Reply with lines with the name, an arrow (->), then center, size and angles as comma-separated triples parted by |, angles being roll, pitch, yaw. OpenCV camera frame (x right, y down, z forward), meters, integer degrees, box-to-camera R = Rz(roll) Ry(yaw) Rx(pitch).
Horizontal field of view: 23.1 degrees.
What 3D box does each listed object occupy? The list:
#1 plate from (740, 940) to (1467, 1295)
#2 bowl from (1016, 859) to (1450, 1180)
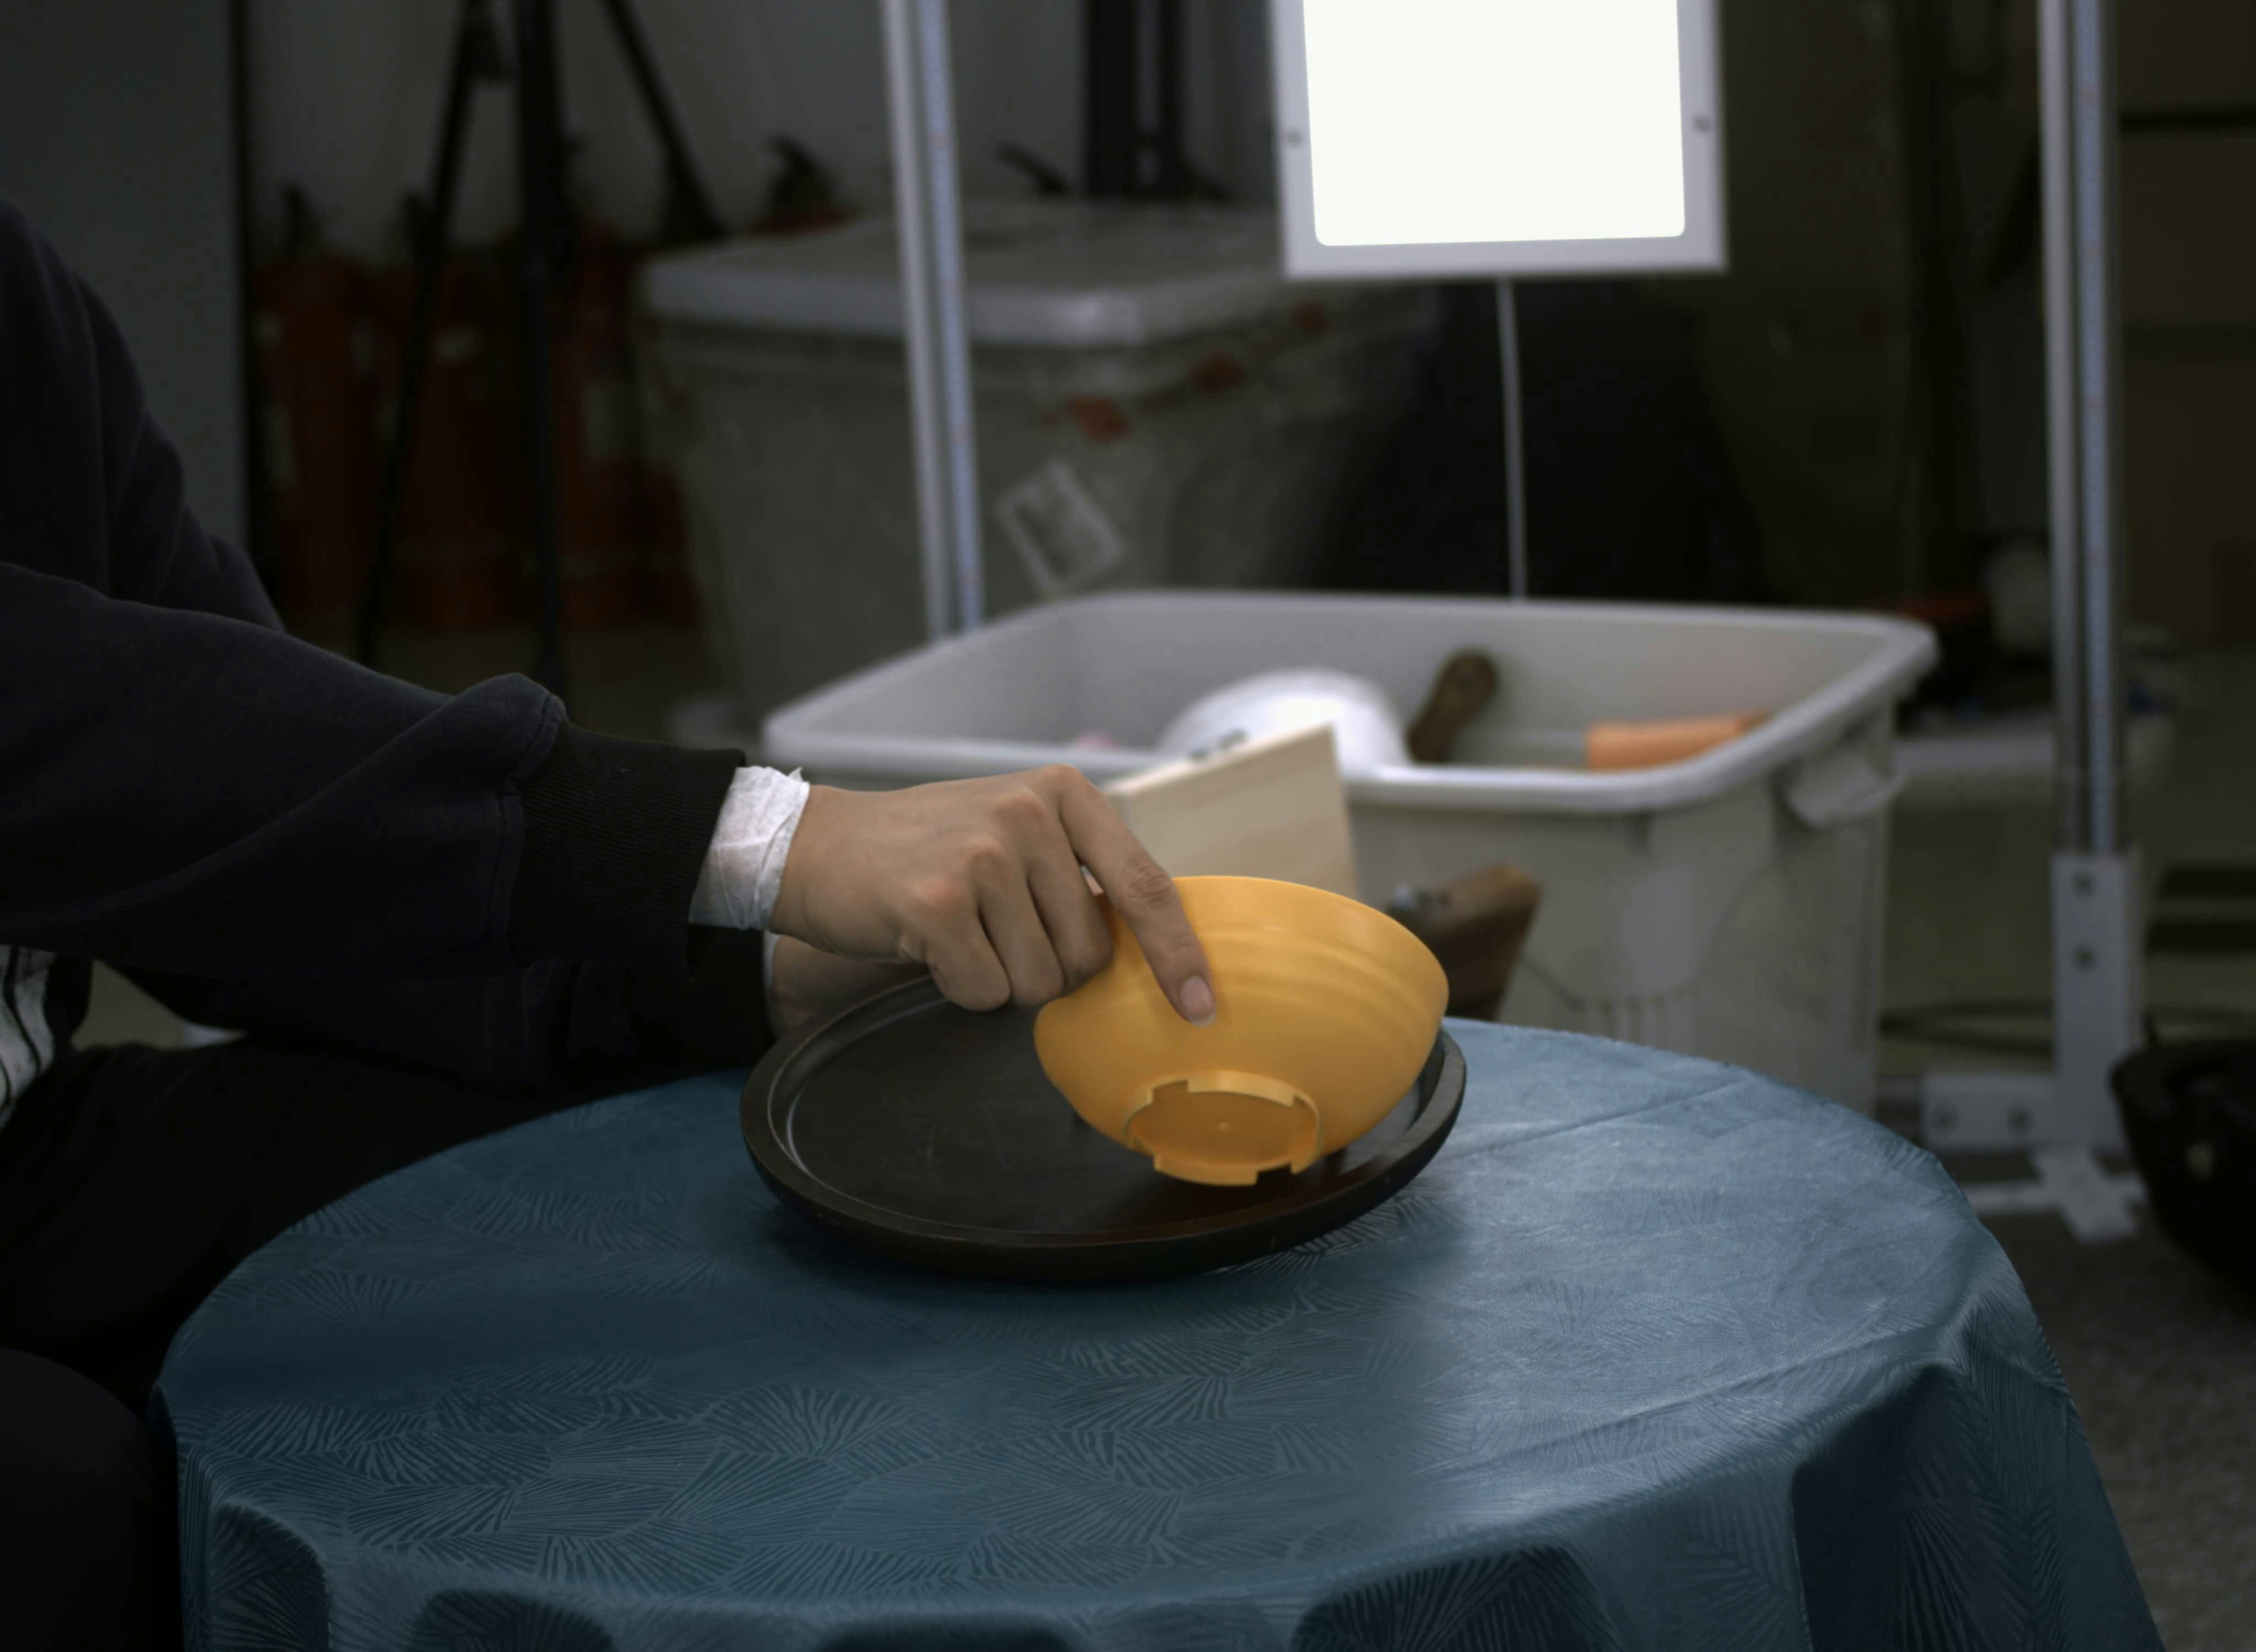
plate -> -0.008, 0.097, 1.905 | 0.254, 0.029, 0.254 | -6, 24, 1
bowl -> 0.032, 0.075, 1.806 | 0.146, 0.145, 0.060 | -1, 56, 13
